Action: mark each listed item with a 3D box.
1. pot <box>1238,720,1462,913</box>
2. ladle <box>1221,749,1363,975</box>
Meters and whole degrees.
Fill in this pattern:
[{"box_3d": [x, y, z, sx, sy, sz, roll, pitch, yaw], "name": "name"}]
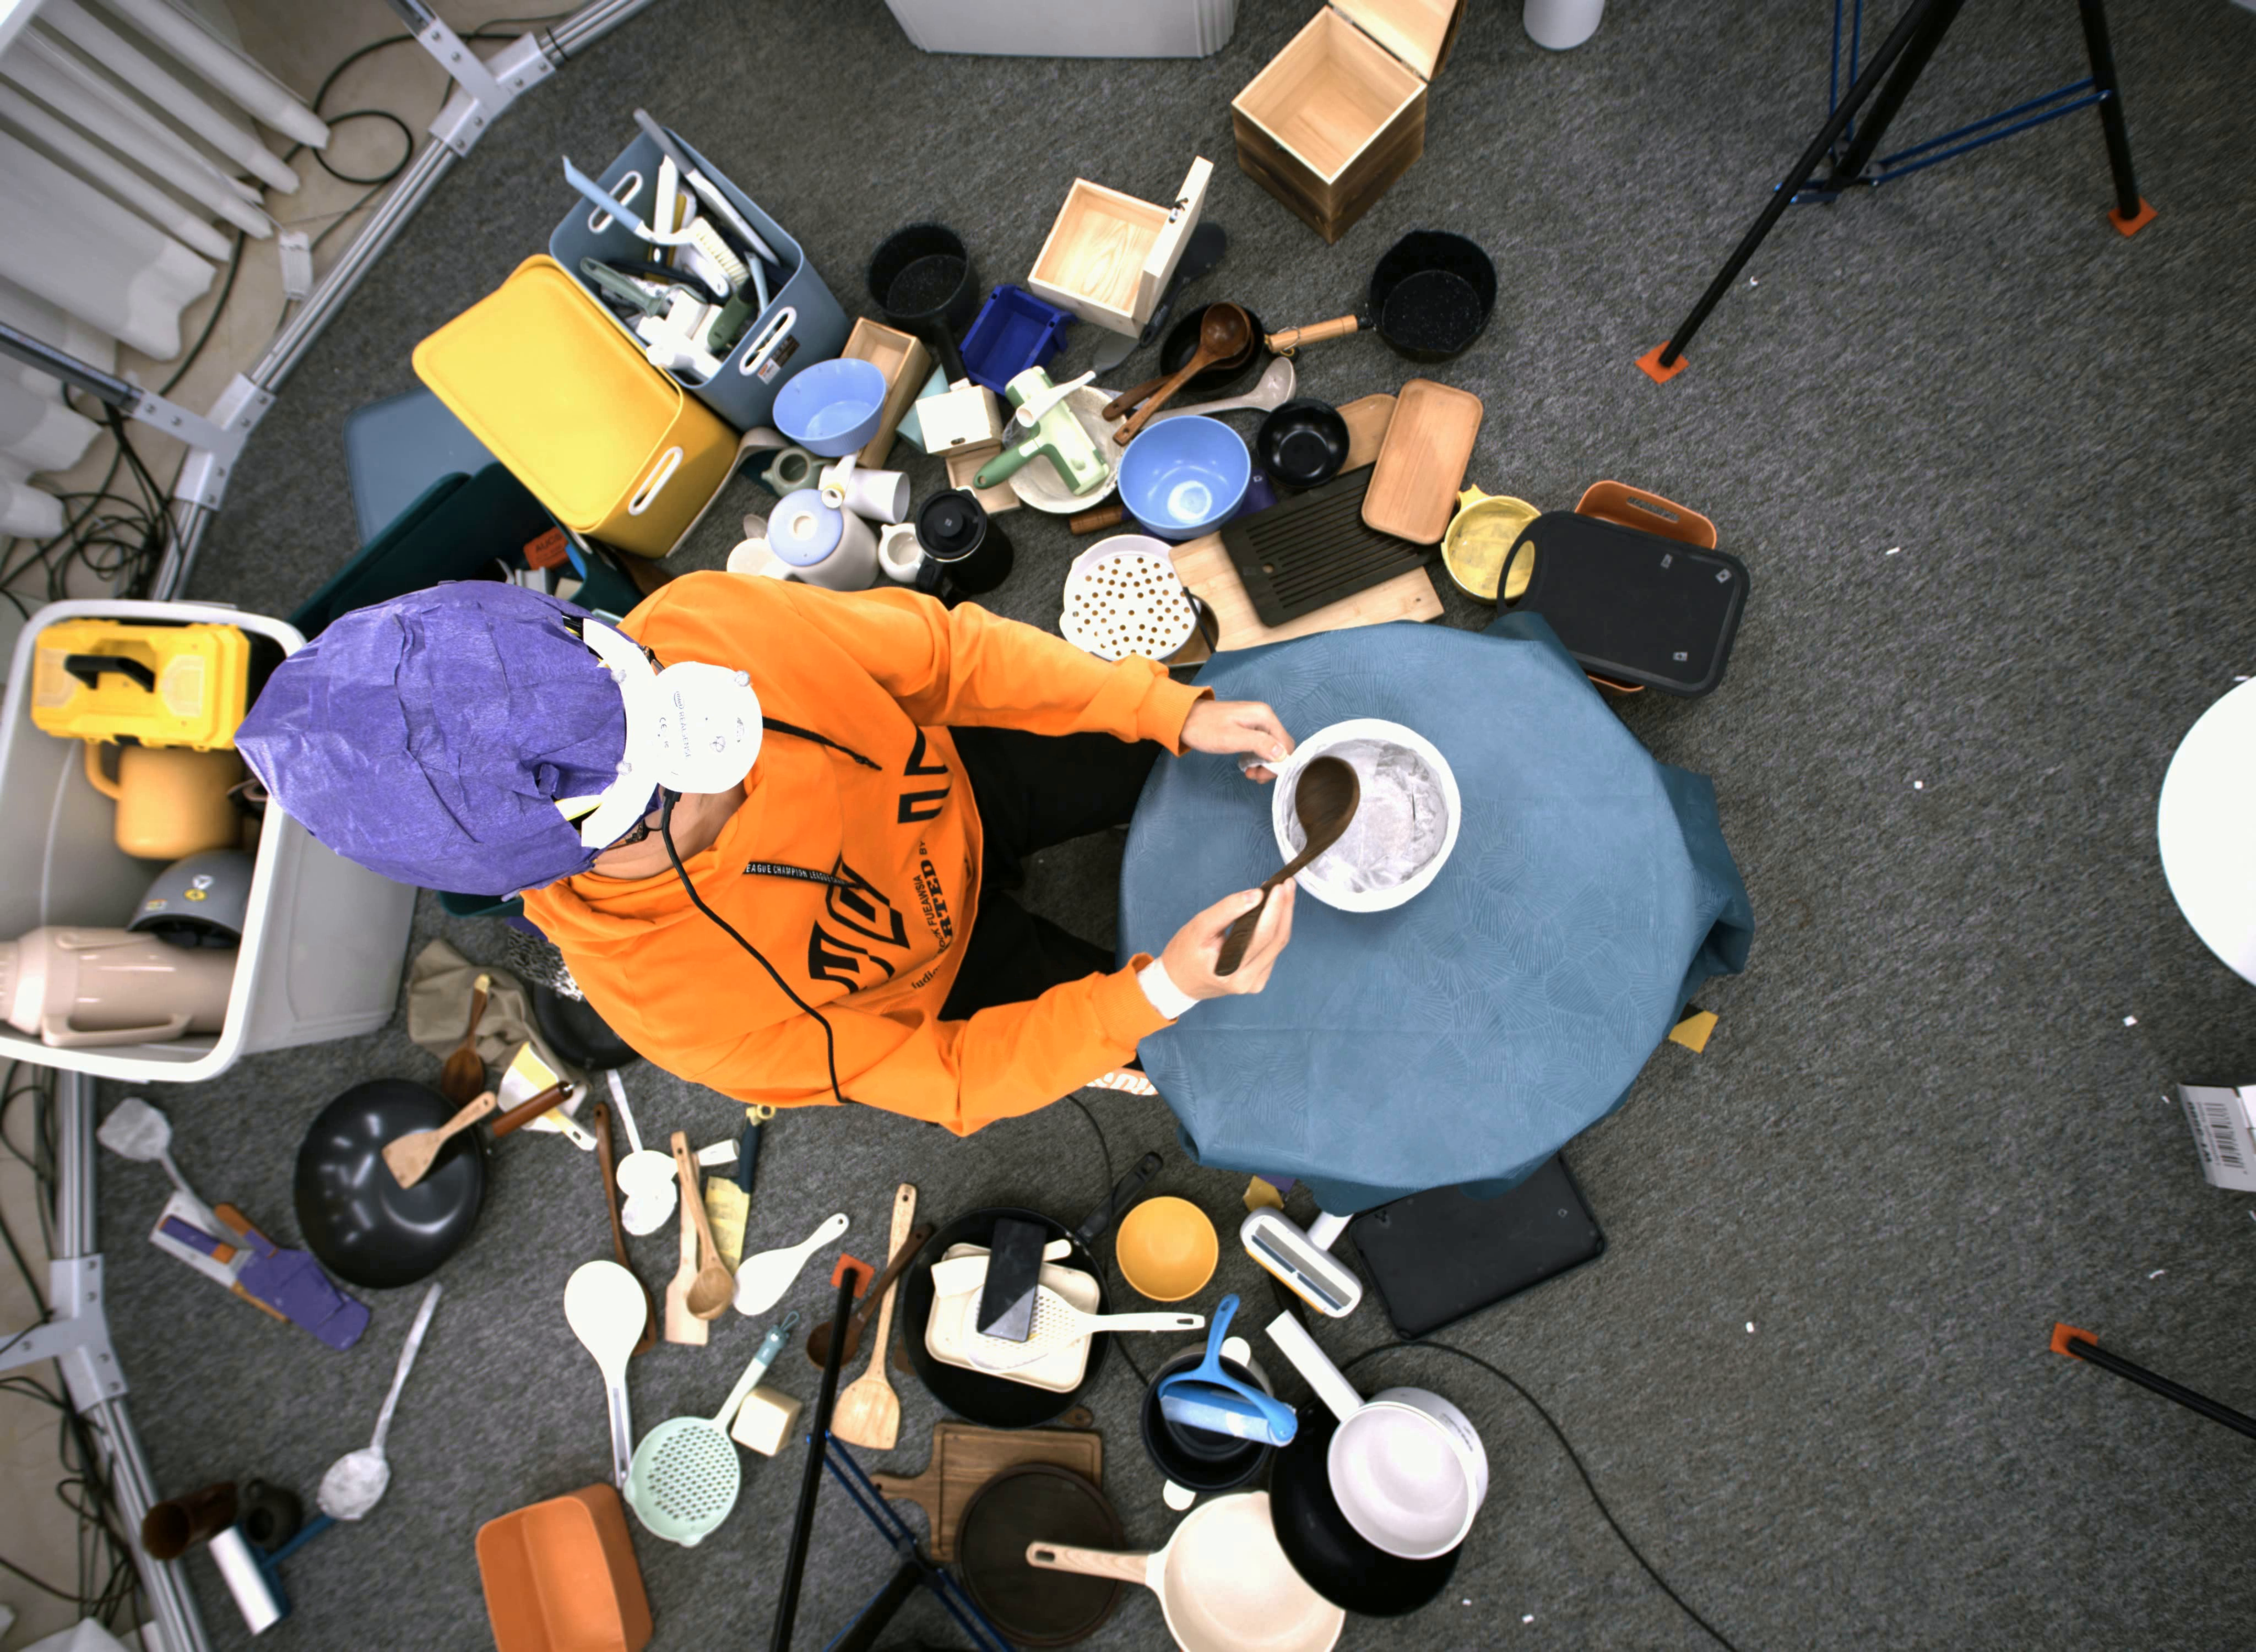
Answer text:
[{"box_3d": [0.210, -0.020, 1.370, 0.233, 0.137, 0.178, 31, 88, 11], "name": "pot"}, {"box_3d": [0.136, 0.023, 1.237, 0.077, 0.267, 0.072, -24, 107, 47], "name": "ladle"}]
